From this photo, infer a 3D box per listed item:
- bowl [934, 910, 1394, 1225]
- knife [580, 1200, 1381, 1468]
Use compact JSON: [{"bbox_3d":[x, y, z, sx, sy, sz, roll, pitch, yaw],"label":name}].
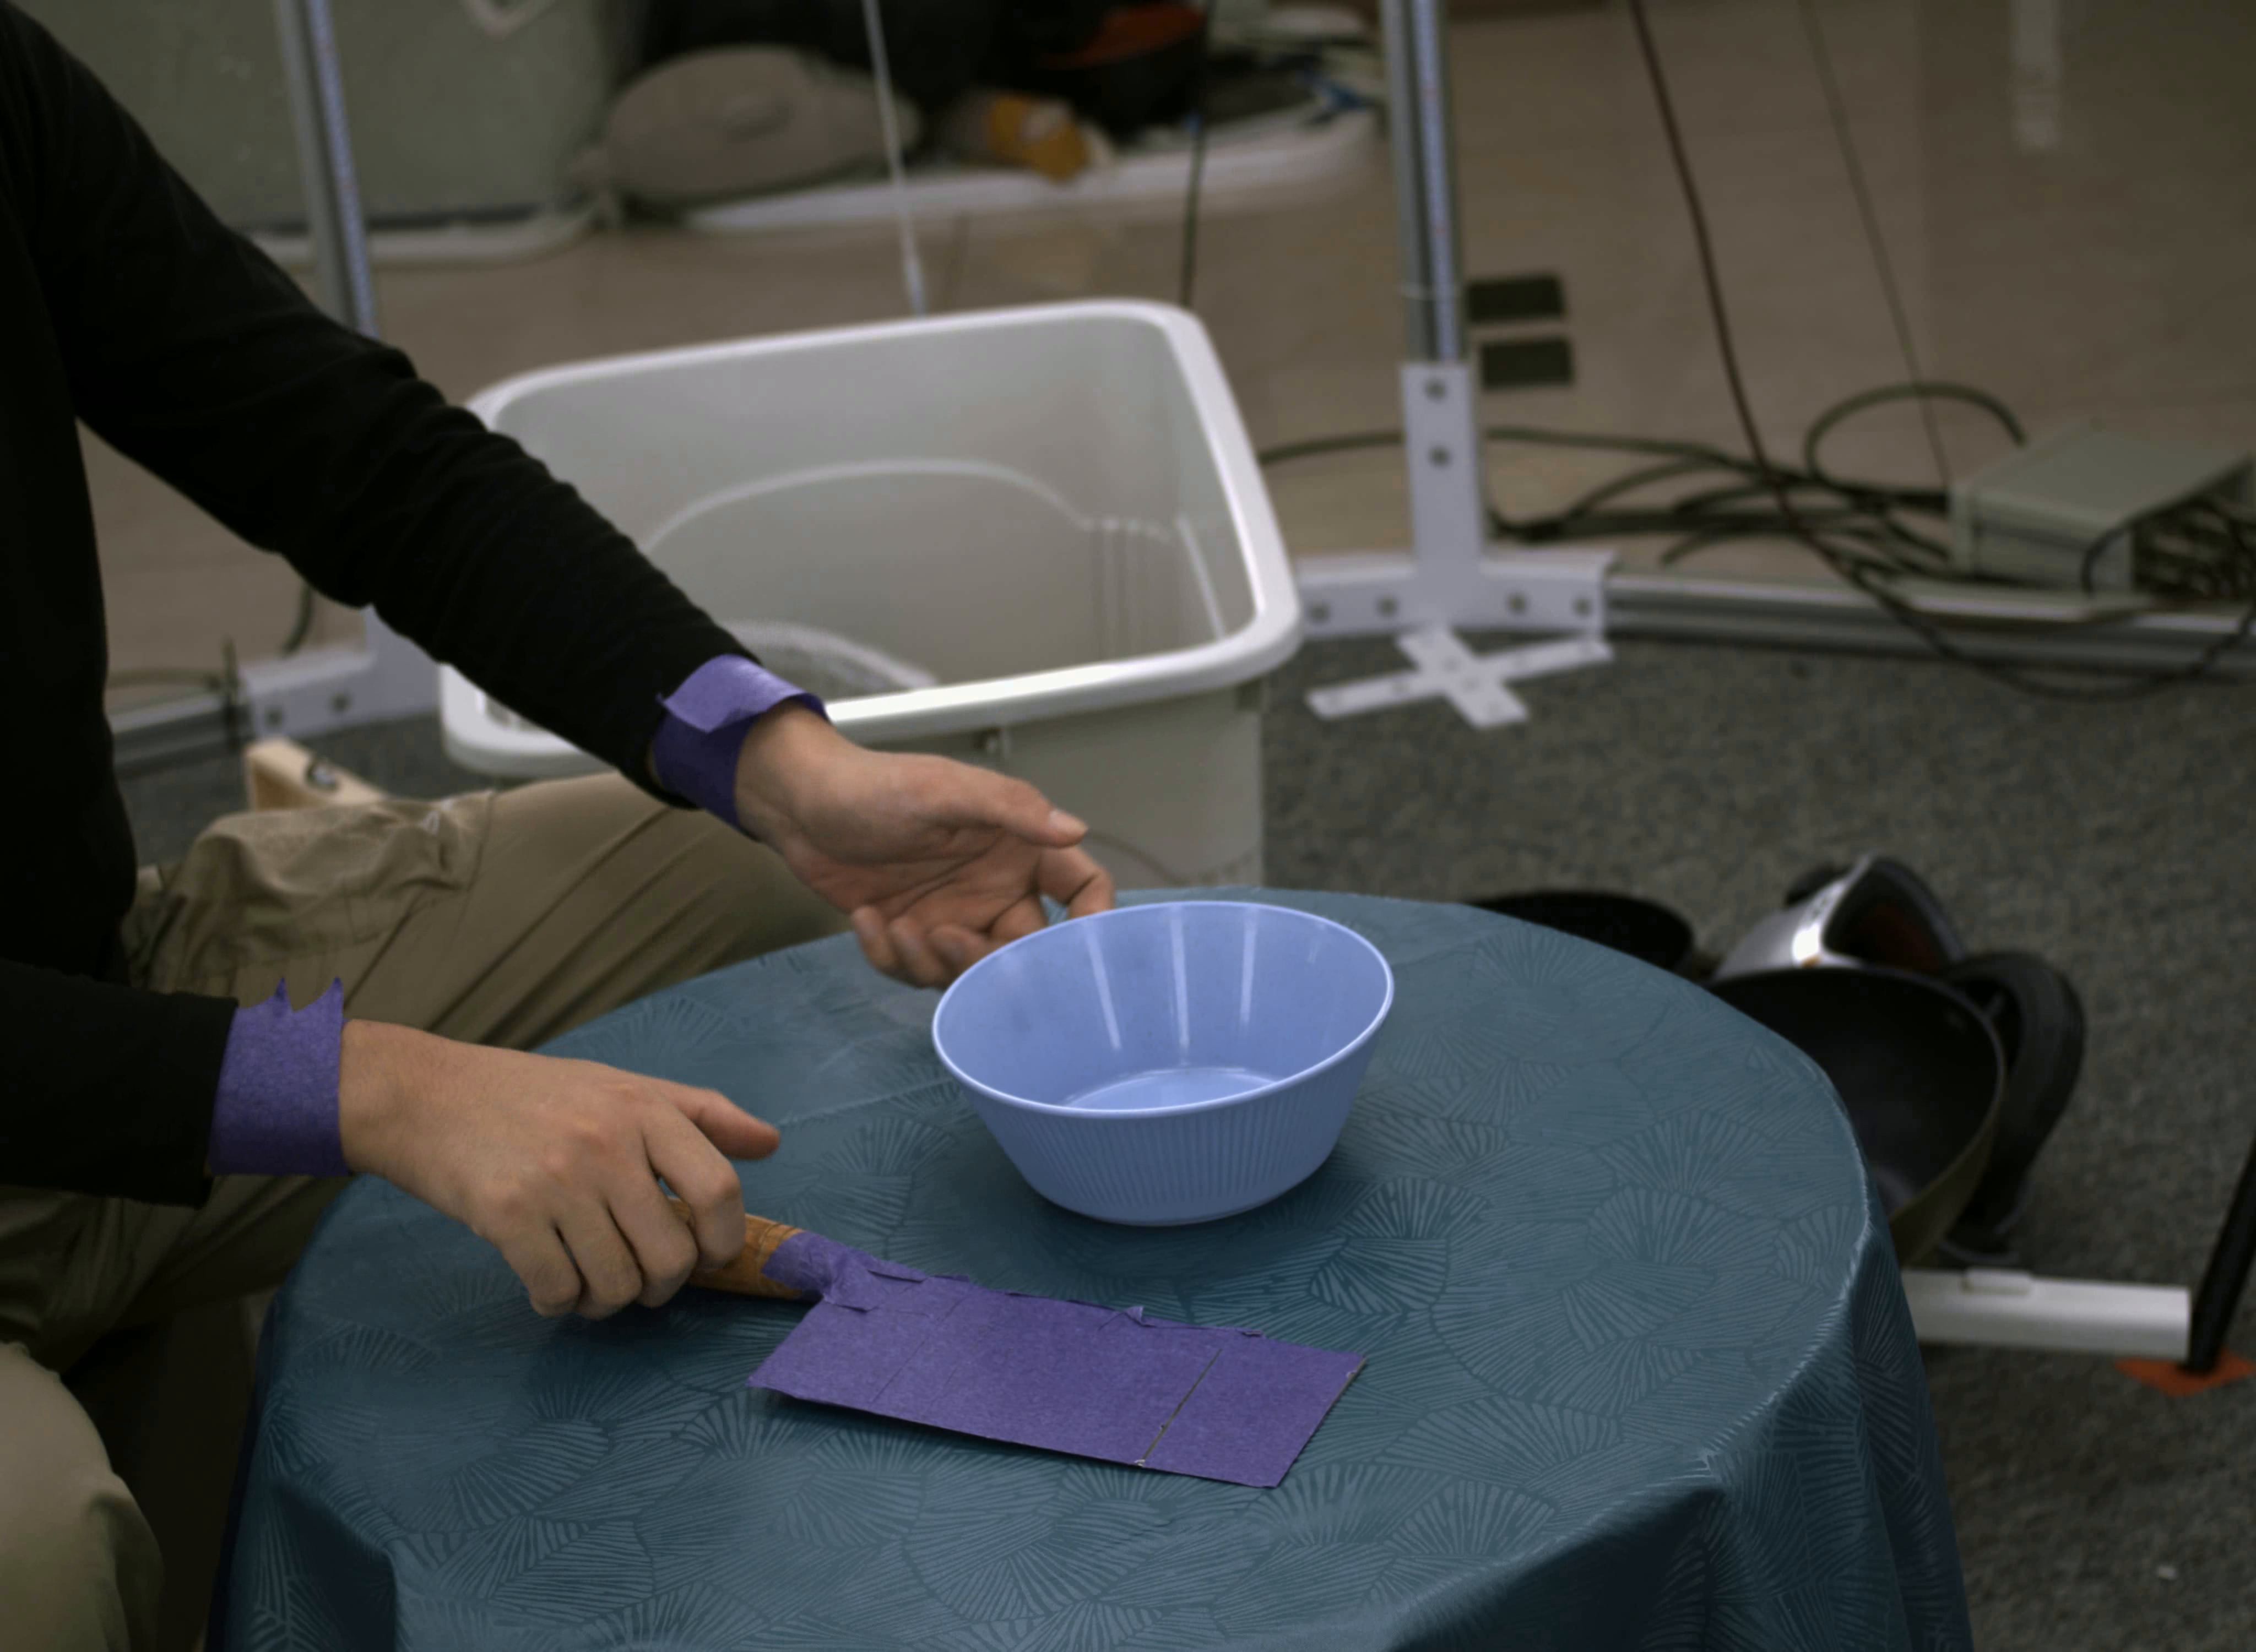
[{"bbox_3d":[0.016,0.097,2.151,0.176,0.071,0.173,-5,23,2],"label":"bowl"},{"bbox_3d":[-0.070,0.182,2.043,0.314,0.033,0.102,6,27,24],"label":"knife"}]
